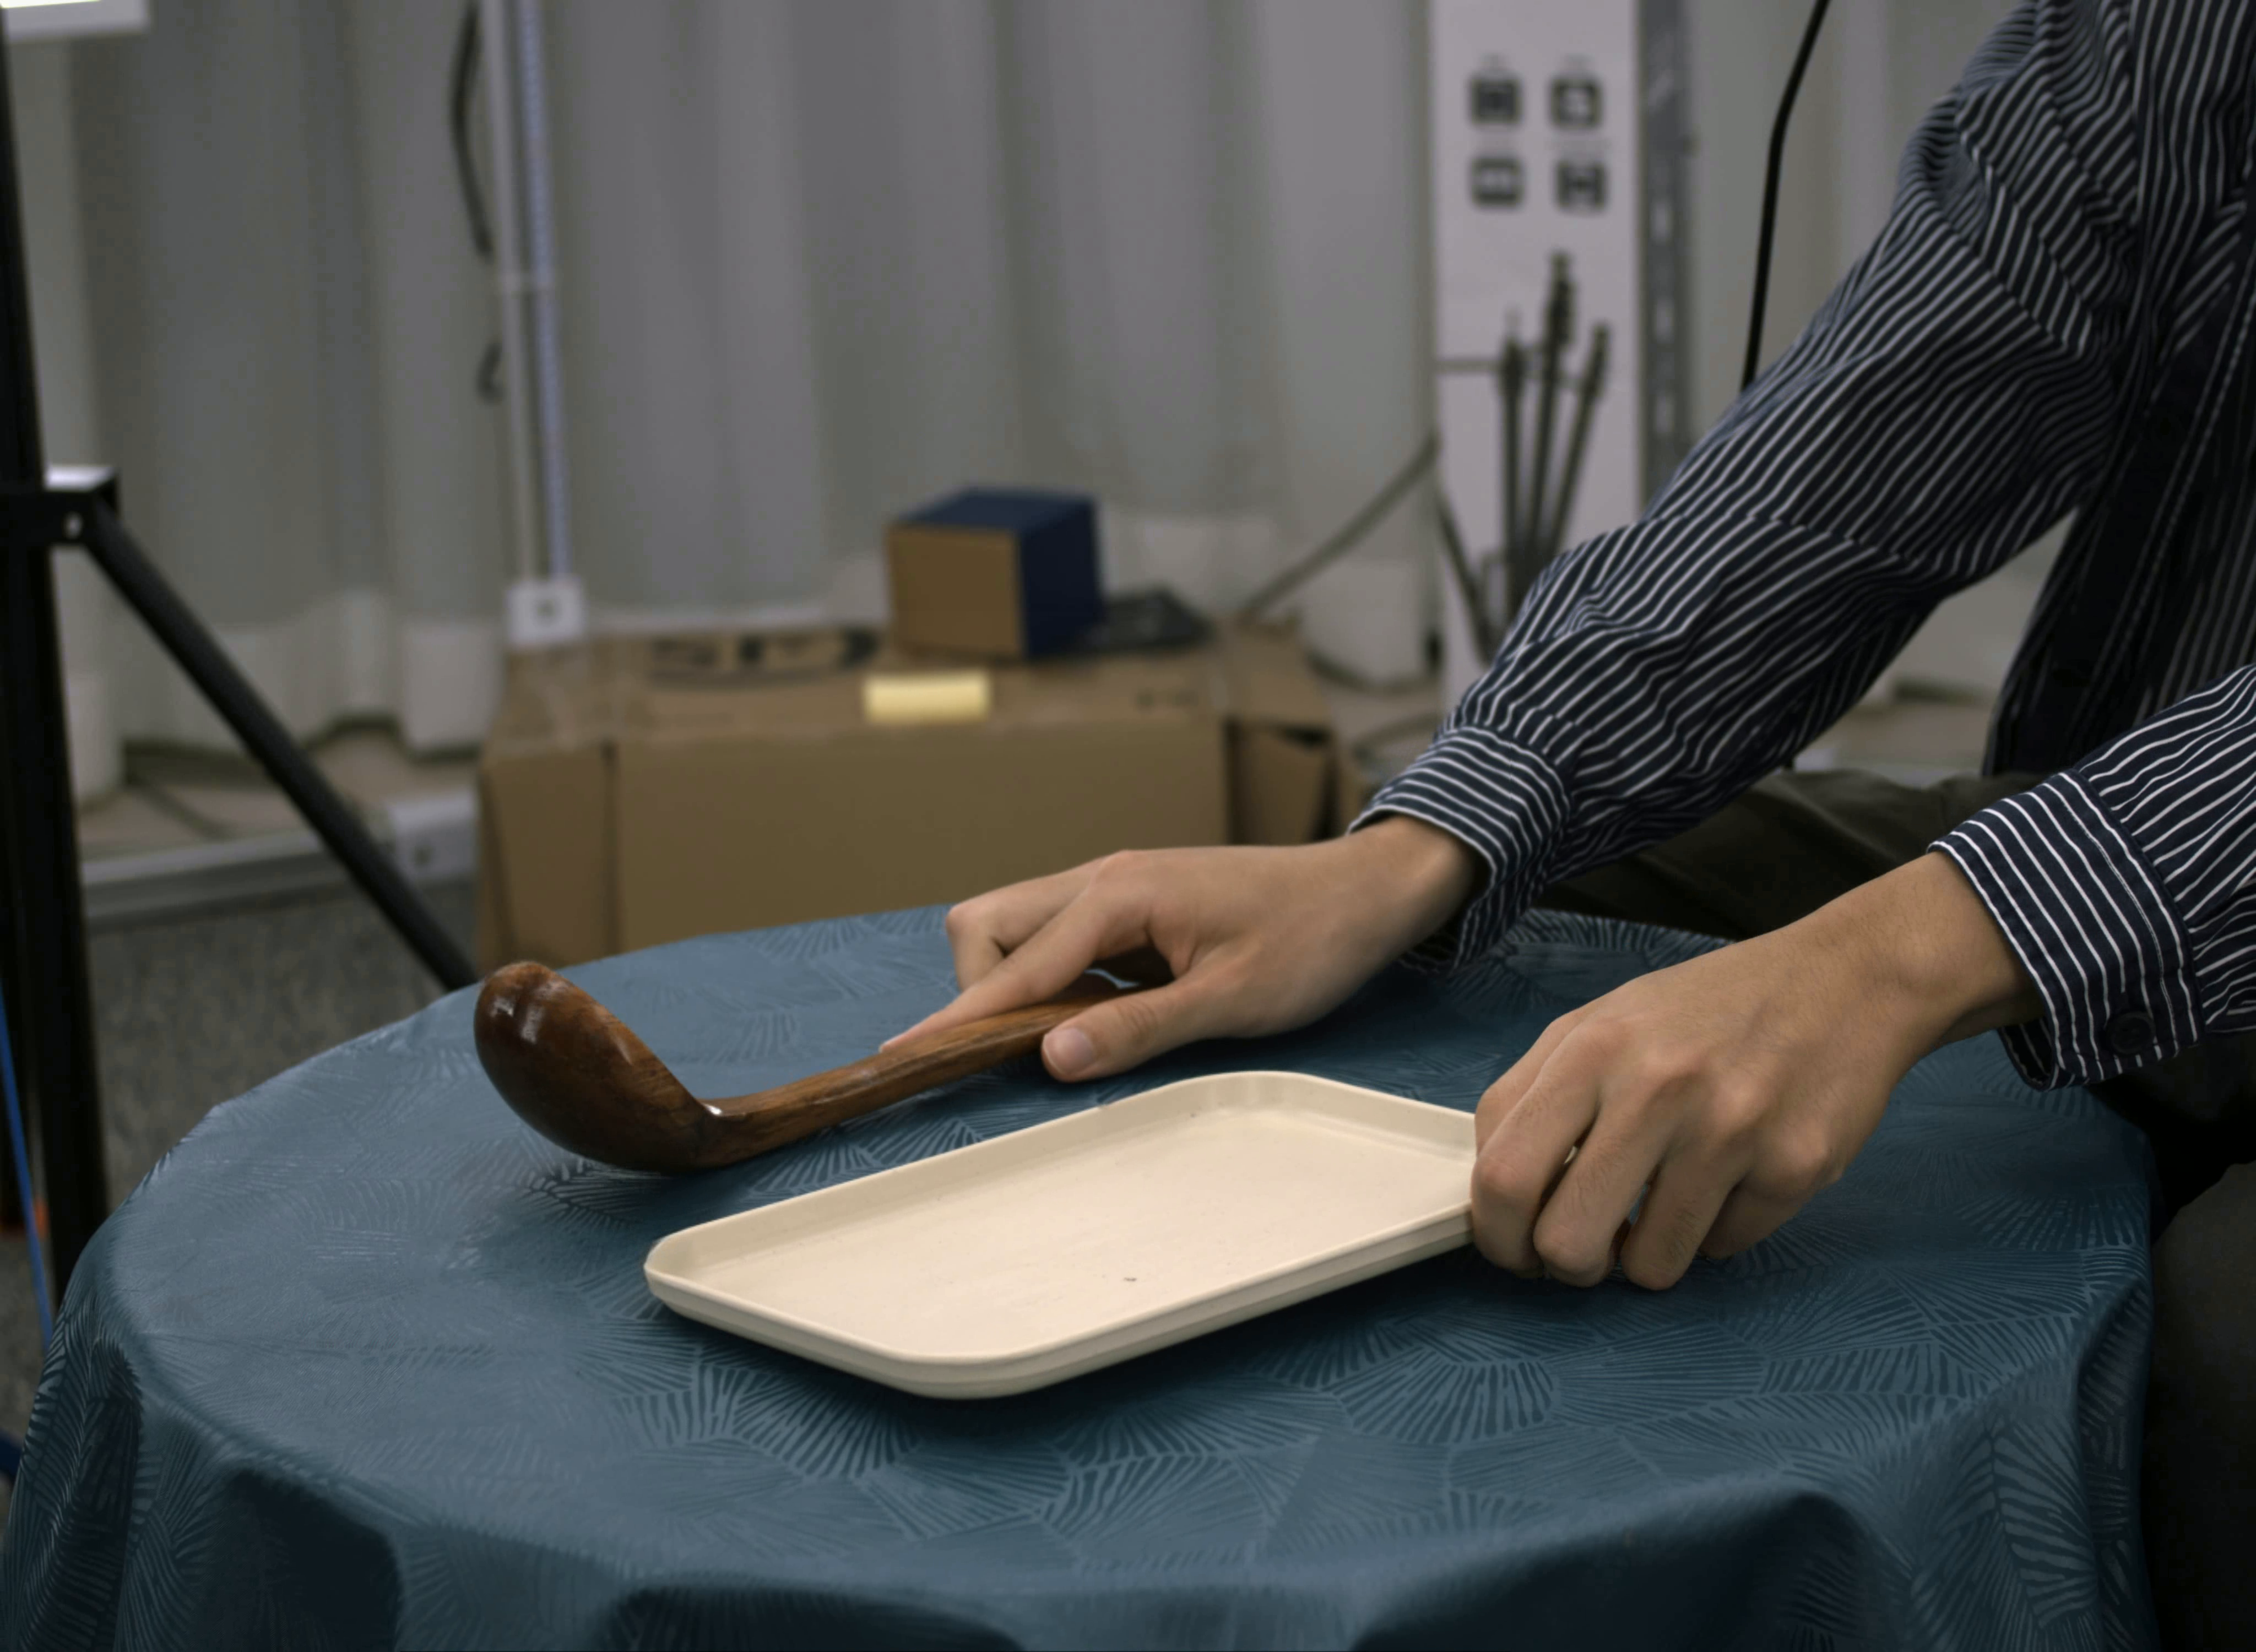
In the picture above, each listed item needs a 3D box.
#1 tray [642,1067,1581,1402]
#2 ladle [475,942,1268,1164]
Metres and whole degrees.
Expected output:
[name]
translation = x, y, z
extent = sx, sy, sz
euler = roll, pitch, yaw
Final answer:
[tray]
translation = -0.003, 0.113, 1.493
extent = 0.234, 0.017, 0.175
euler = -14, 16, -35
[ladle]
translation = -0.074, 0.049, 1.637
extent = 0.268, 0.076, 0.084
euler = -13, 20, -31
